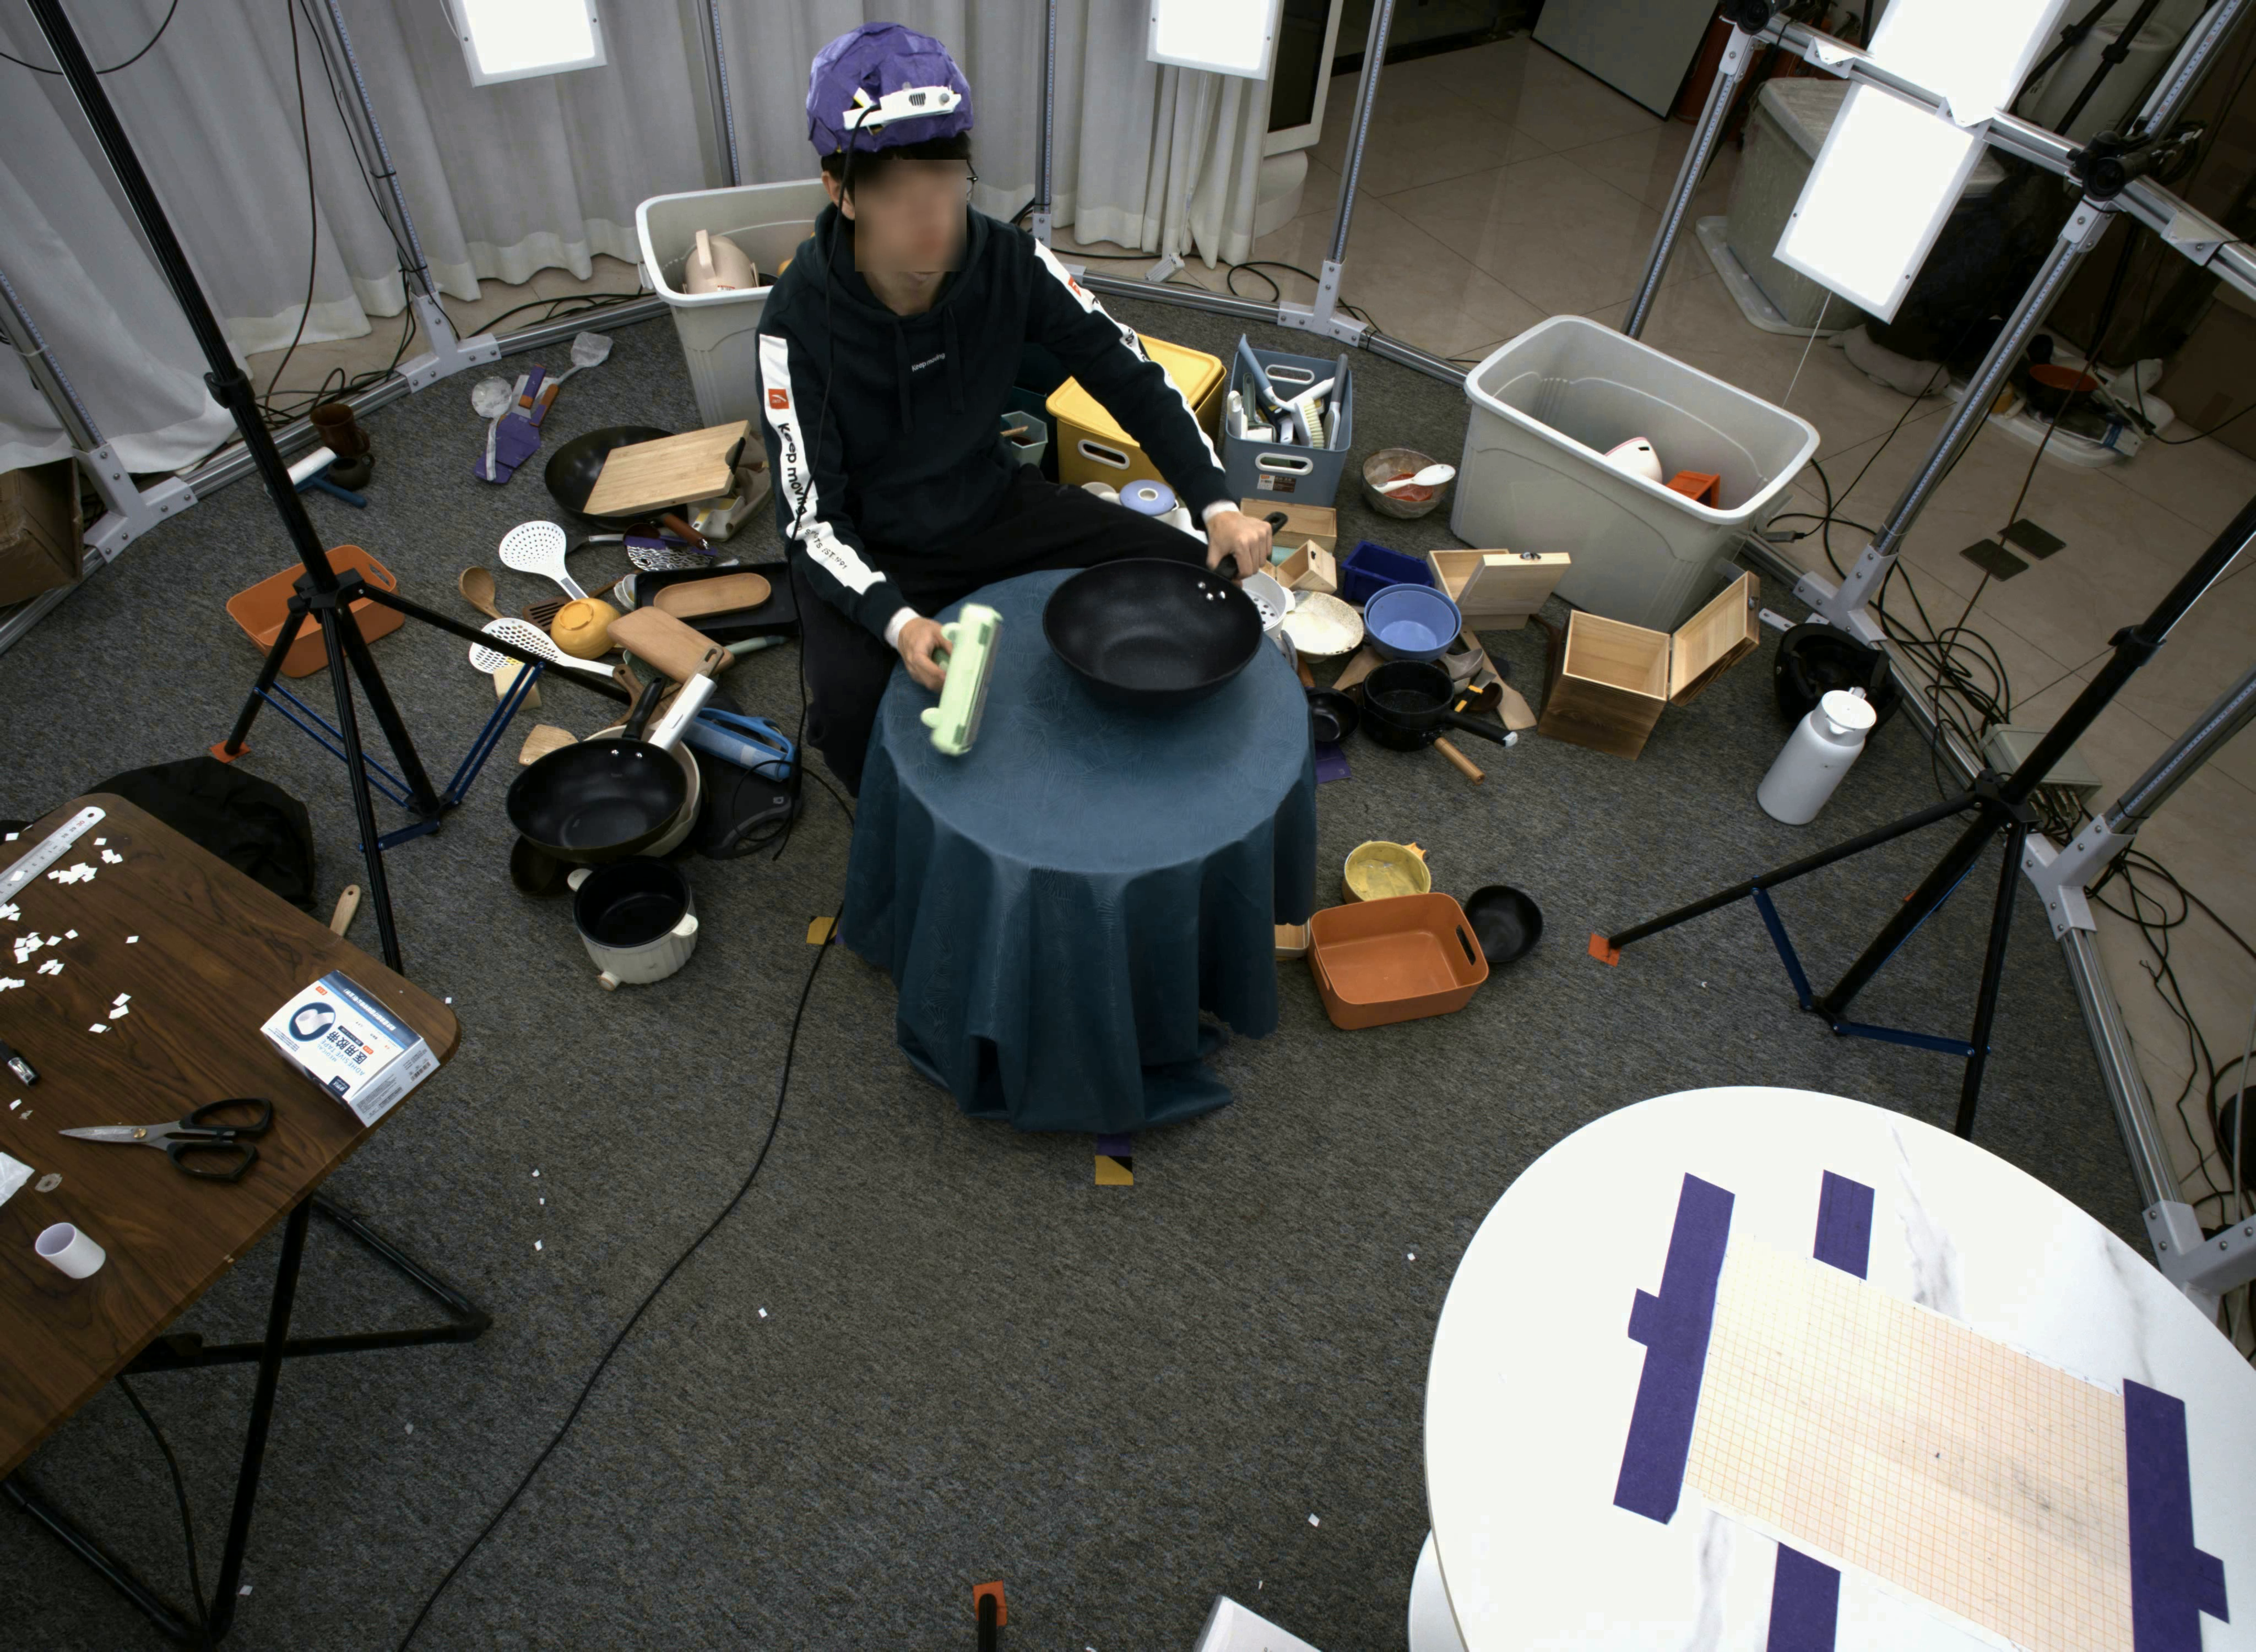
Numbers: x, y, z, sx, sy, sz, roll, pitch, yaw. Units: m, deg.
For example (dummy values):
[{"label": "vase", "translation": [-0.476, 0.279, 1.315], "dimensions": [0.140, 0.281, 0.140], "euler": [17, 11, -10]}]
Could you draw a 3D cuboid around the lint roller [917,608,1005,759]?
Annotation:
[{"label": "lint roller", "translation": [-0.252, -0.208, 1.727], "dimensions": [0.081, 0.197, 0.186], "euler": [11, 13, -42]}]

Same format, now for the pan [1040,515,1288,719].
[{"label": "pan", "translation": [0.083, -0.304, 1.863], "dimensions": [0.314, 0.109, 0.482], "euler": [31, 52, 24]}]
